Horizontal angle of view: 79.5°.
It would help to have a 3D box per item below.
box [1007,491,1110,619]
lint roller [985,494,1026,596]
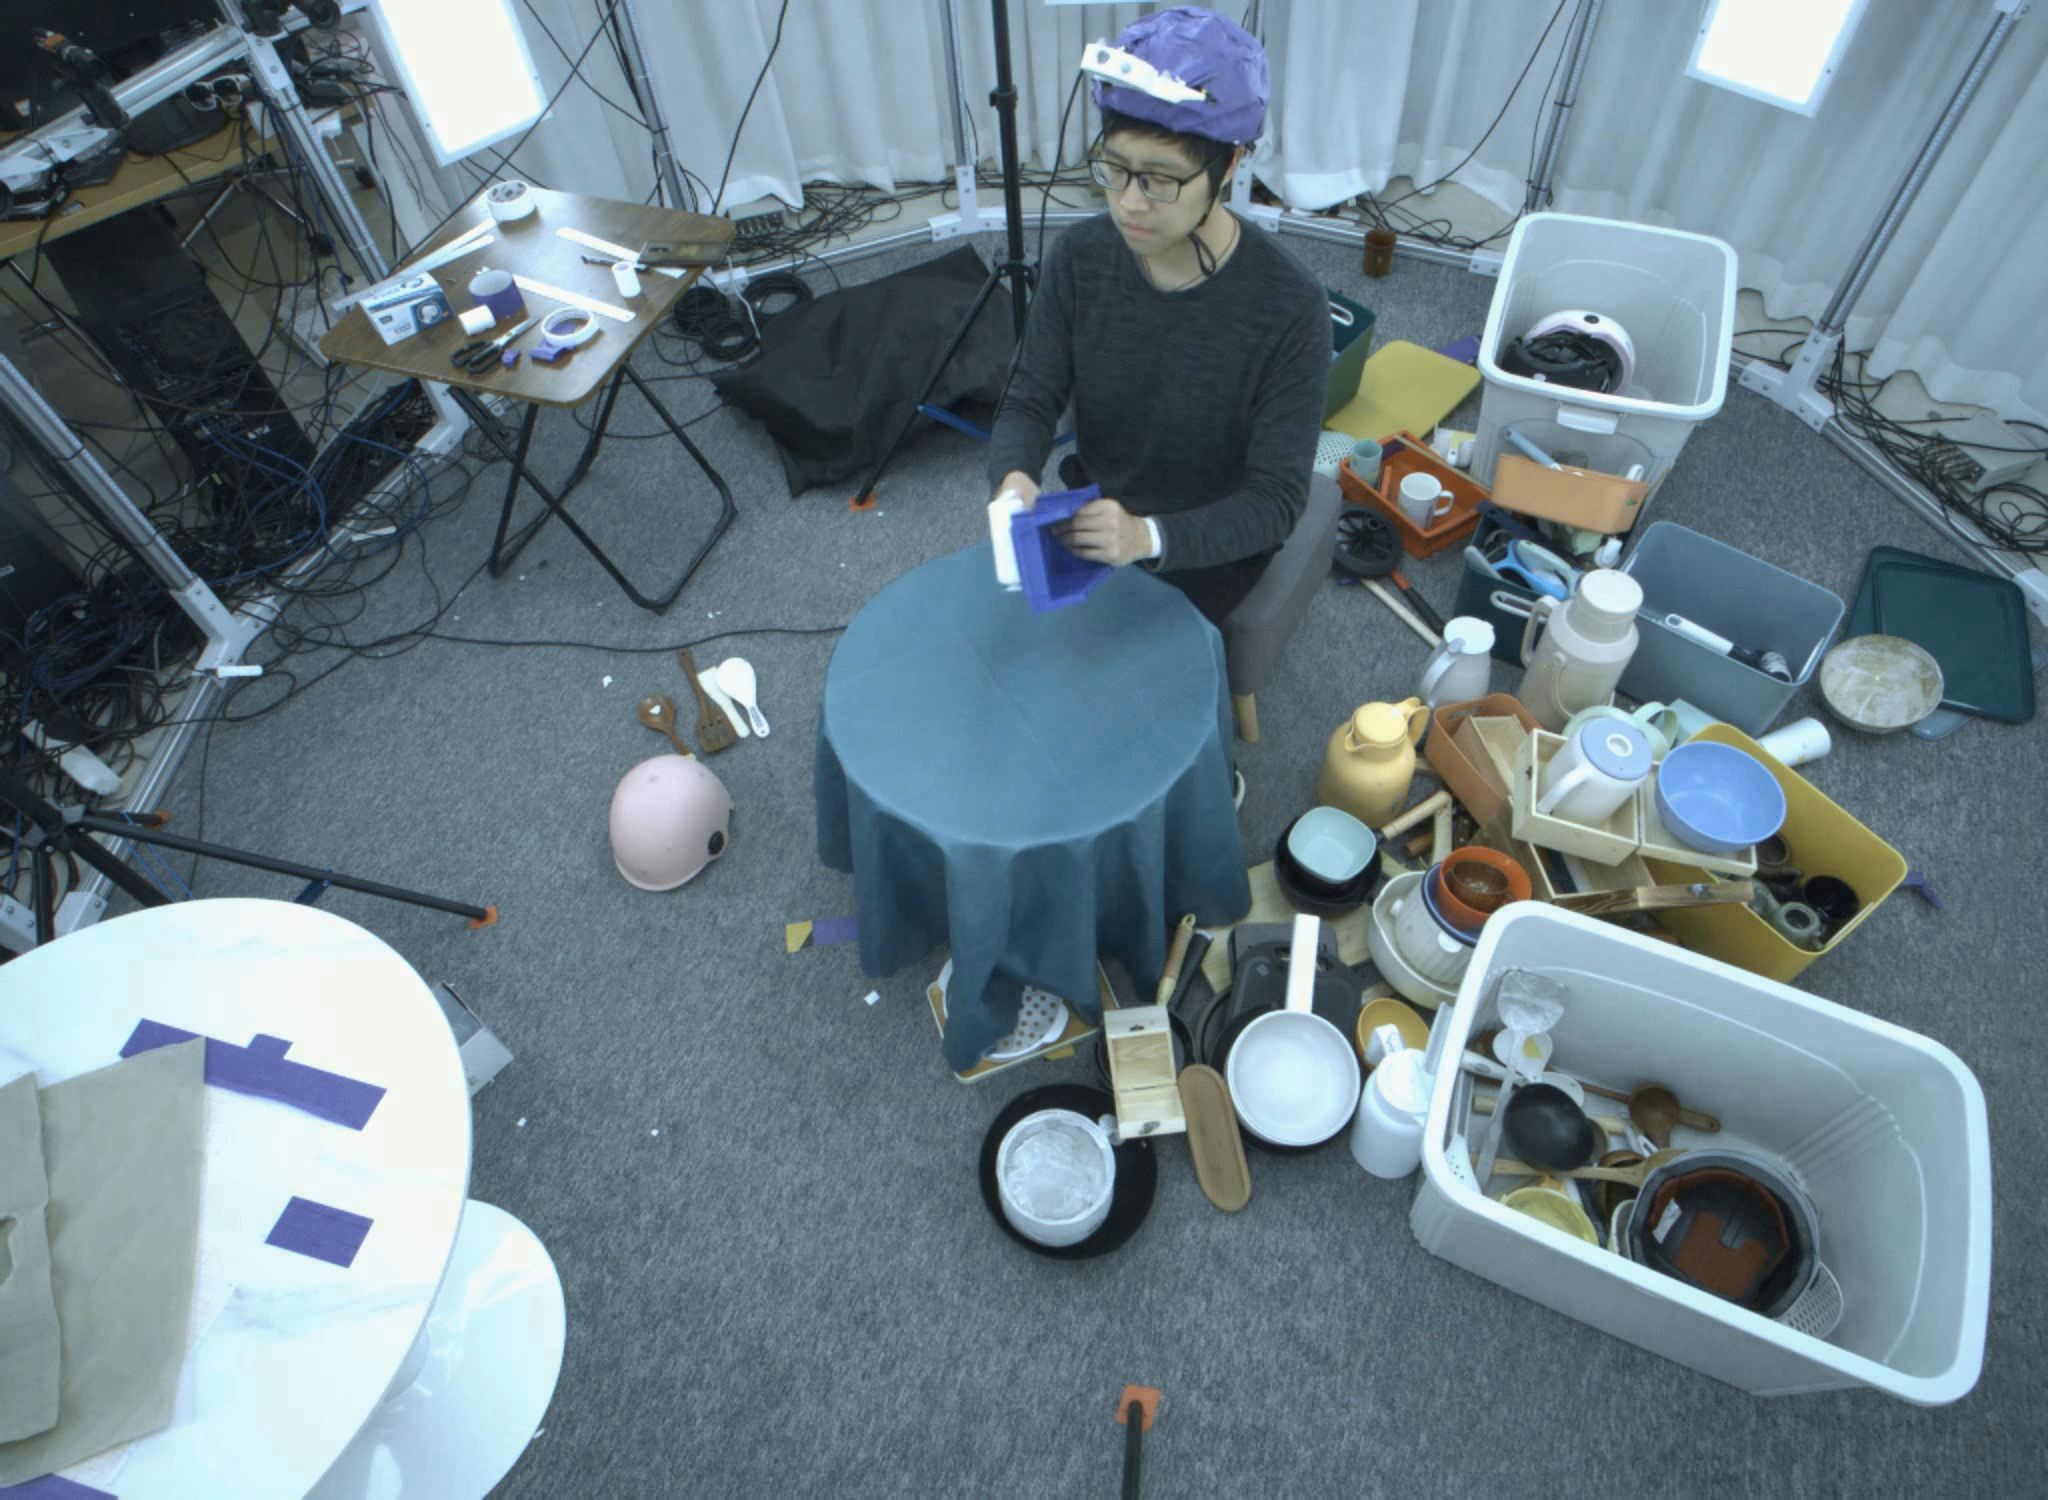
[{"bbox_3d":[0.041,-0.252,1.583,0.081,0.125,0.180,-5,21,19],"label":"box"},{"bbox_3d":[-0.022,-0.292,1.662,0.050,0.134,0.179,-8,23,2],"label":"lint roller"}]
